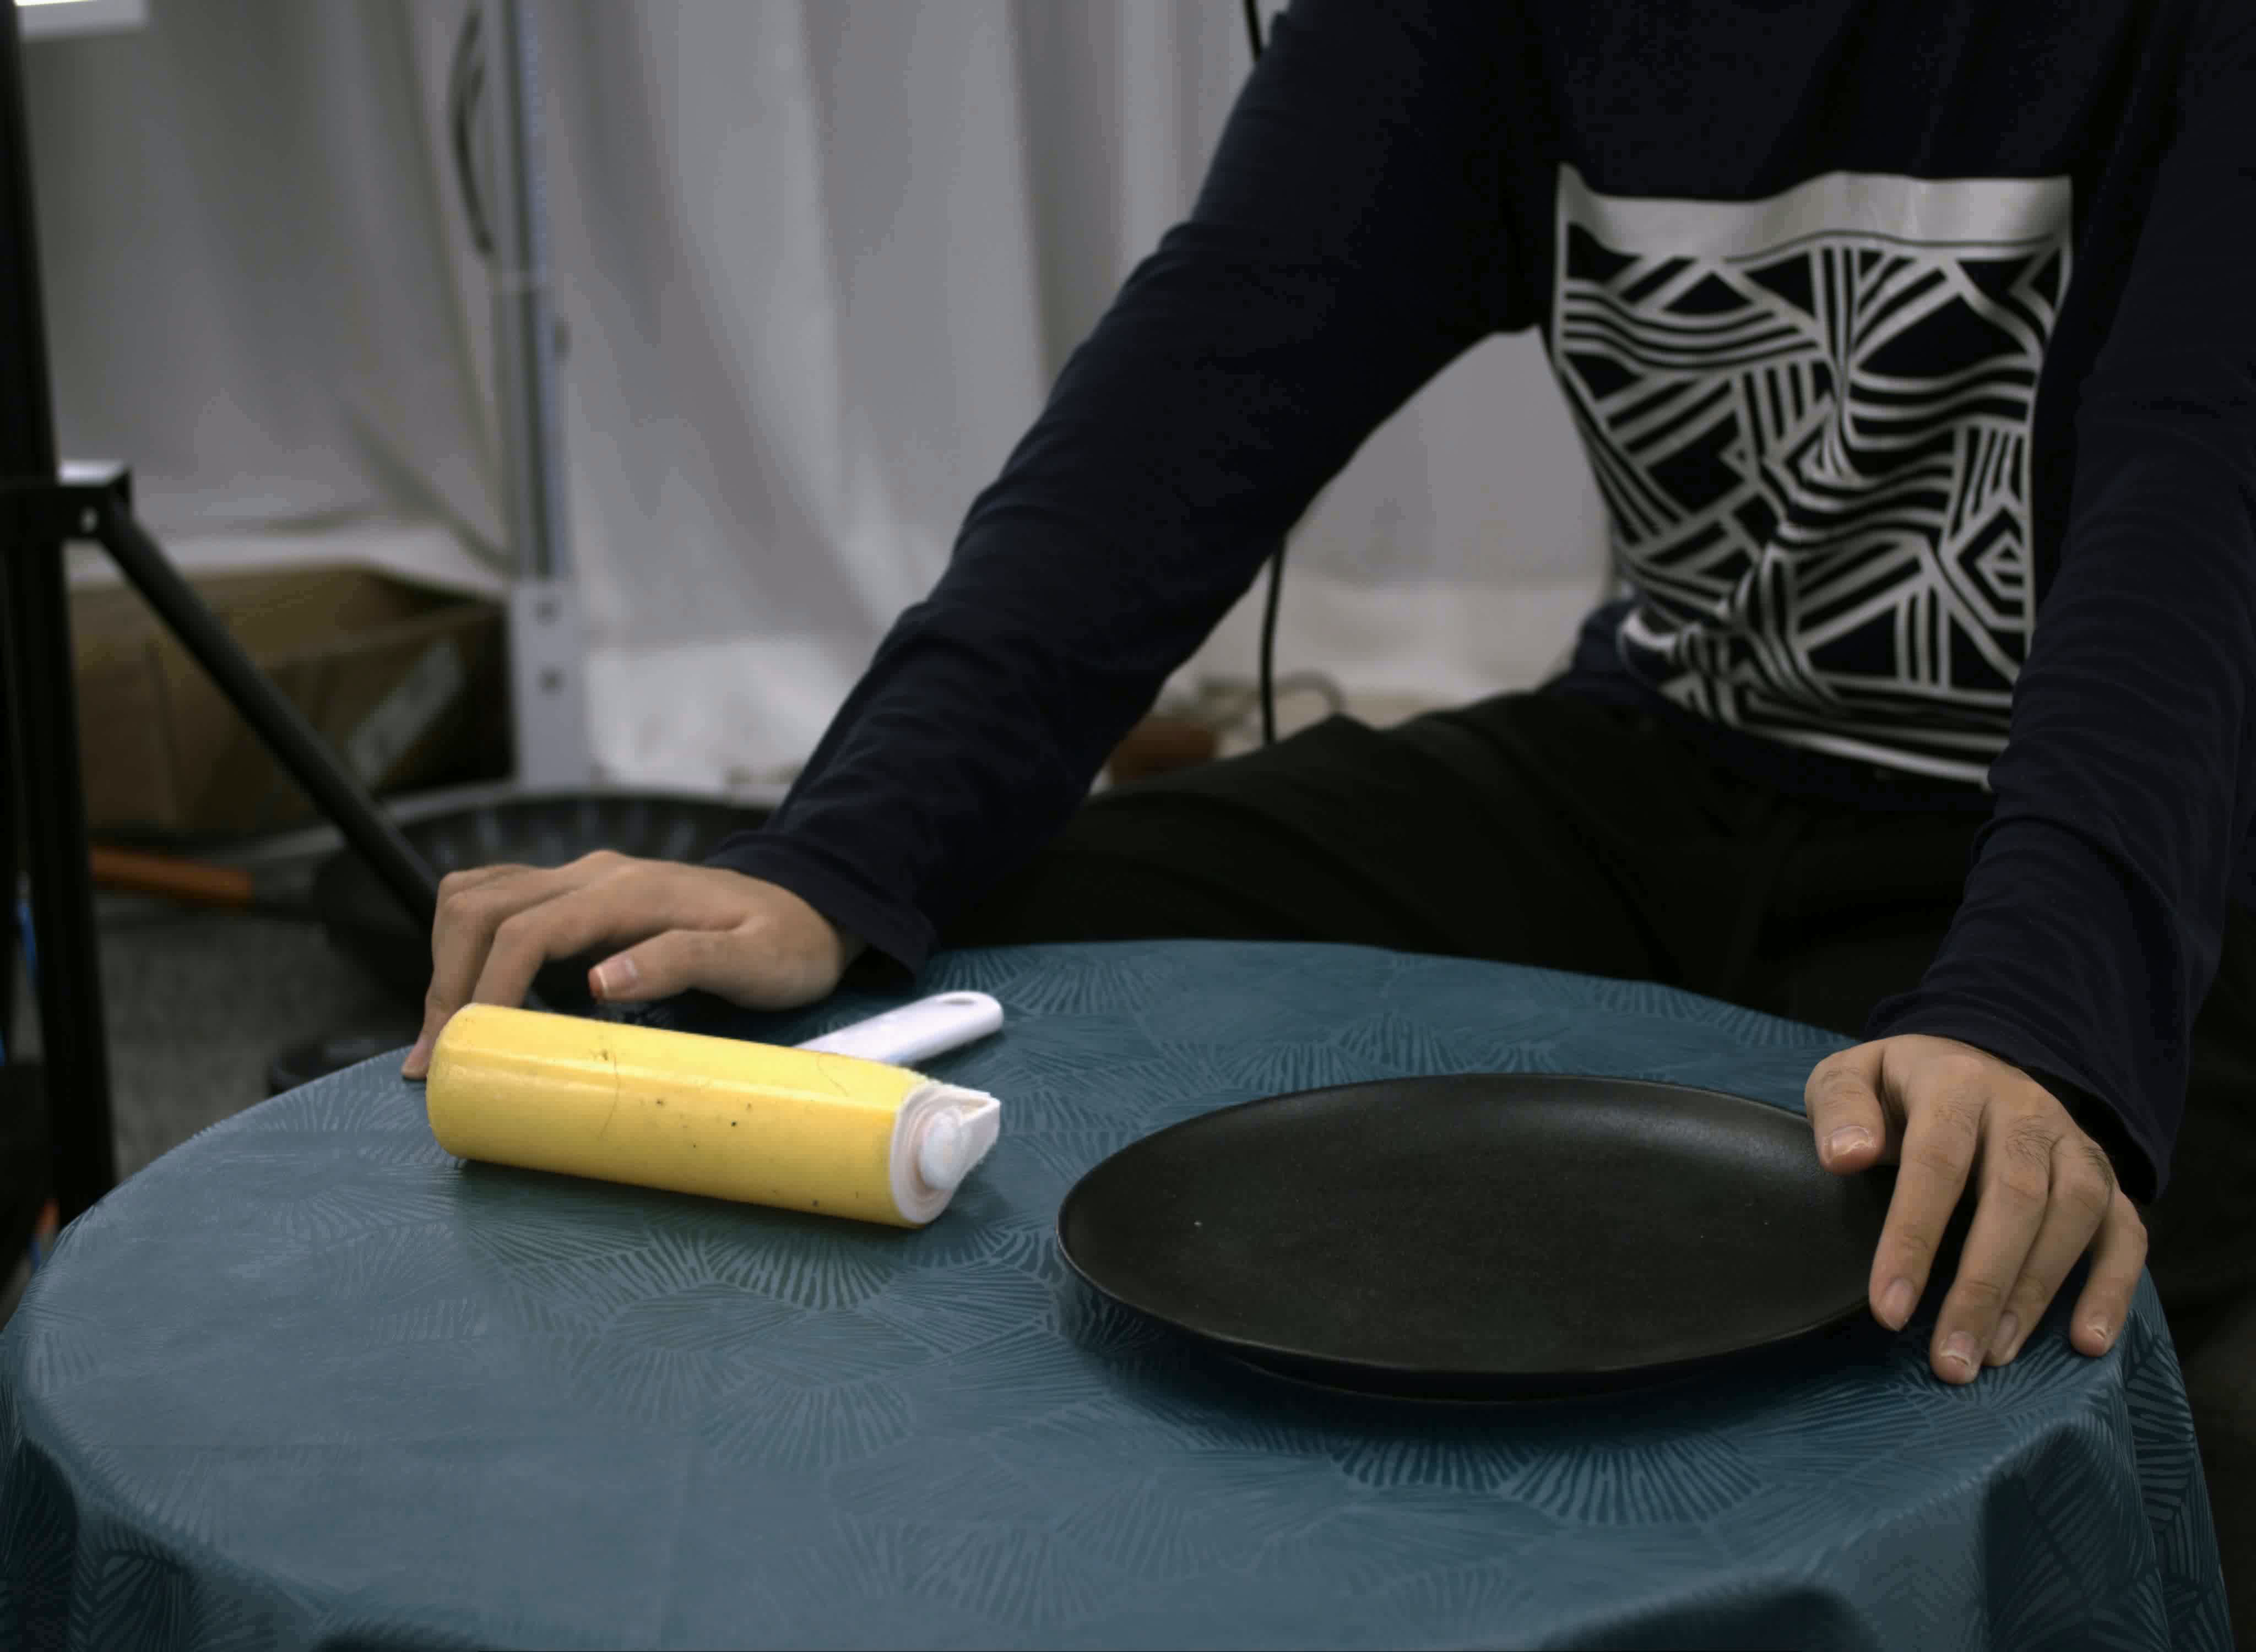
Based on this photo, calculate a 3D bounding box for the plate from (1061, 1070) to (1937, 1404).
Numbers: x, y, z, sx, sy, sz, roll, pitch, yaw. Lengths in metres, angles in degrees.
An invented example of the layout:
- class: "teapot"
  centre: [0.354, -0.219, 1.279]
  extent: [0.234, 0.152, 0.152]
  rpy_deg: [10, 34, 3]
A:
- class: "plate"
  centre: [0.103, 0.117, 1.473]
  extent: [0.243, 0.023, 0.245]
  rpy_deg: [-3, 16, -1]

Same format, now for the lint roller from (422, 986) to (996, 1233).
- class: "lint roller"
  centre: [-0.098, 0.066, 1.637]
  extent: [0.177, 0.051, 0.189]
  rpy_deg: [7, 21, 27]
